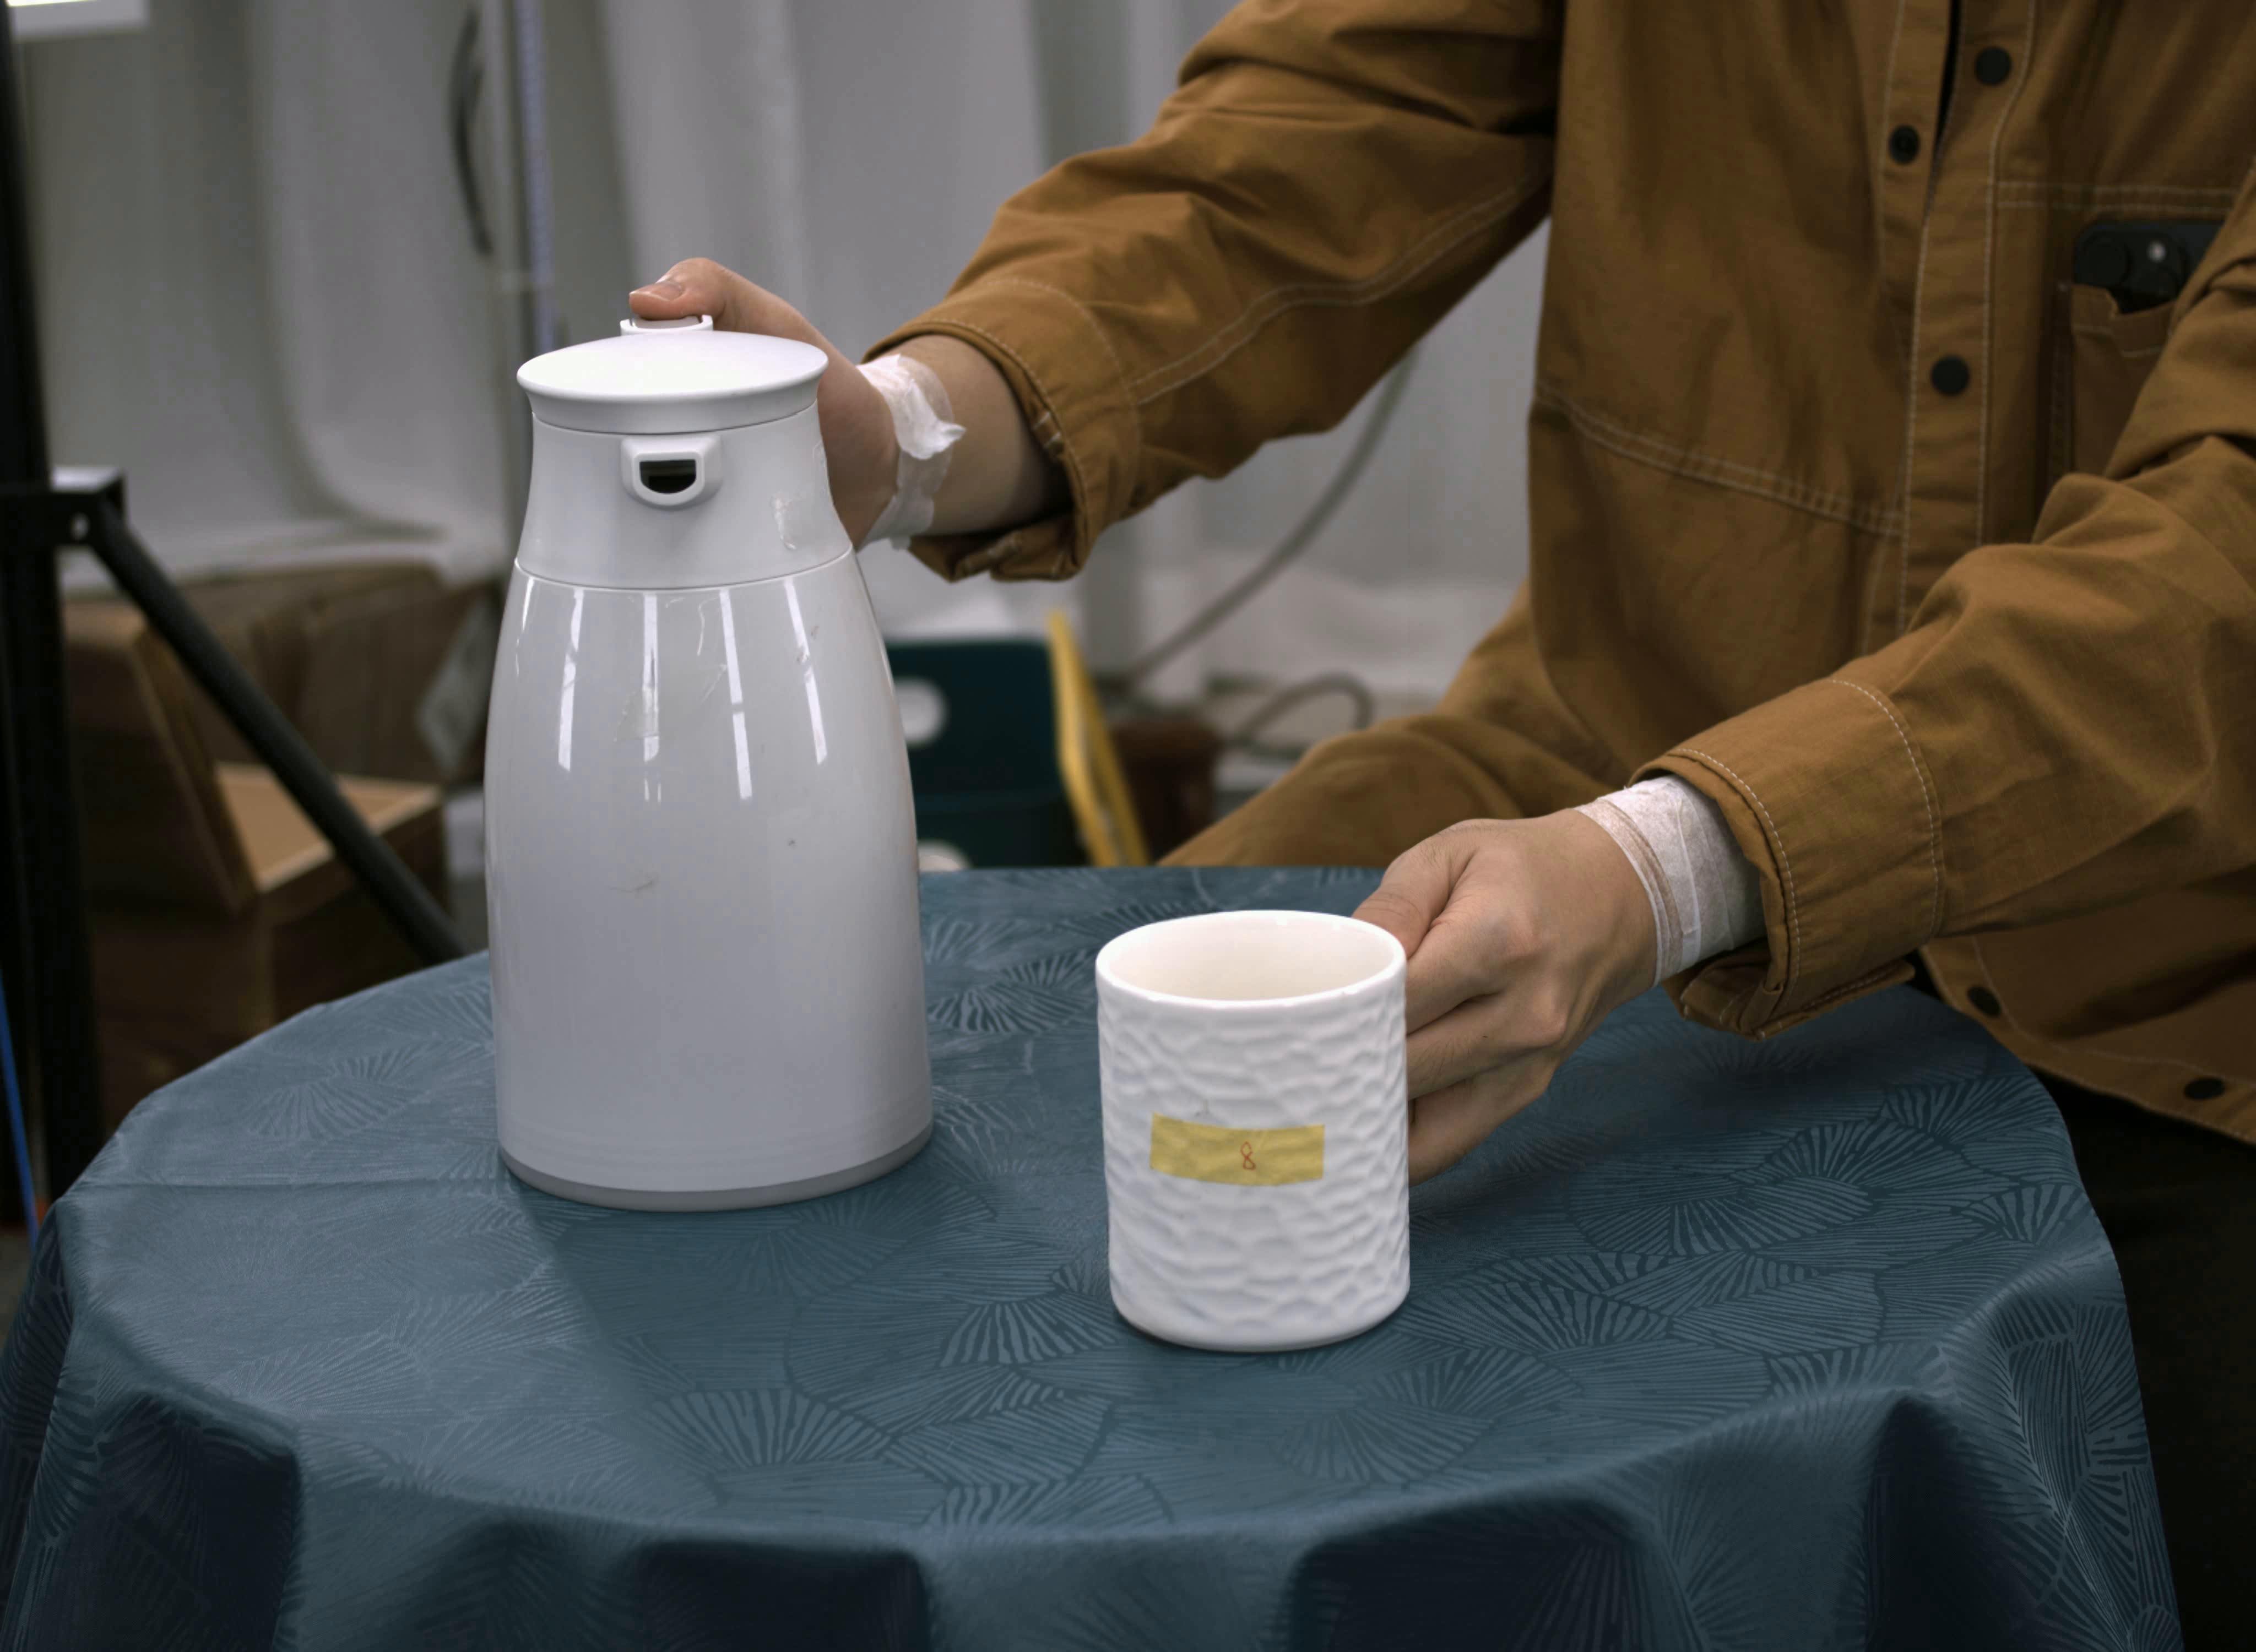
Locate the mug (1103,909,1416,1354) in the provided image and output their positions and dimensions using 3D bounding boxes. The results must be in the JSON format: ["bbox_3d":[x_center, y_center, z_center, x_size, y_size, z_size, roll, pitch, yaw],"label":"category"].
[{"bbox_3d":[0.044,0.080,1.462,0.086,0.102,0.116,7,17,29],"label":"mug"}]

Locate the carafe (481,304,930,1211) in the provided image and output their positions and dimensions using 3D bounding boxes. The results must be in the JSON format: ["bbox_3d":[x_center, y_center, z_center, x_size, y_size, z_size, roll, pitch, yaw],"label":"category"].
[{"bbox_3d":[-0.132,-0.029,1.607,0.131,0.248,0.169,-3,15,-3],"label":"carafe"}]
